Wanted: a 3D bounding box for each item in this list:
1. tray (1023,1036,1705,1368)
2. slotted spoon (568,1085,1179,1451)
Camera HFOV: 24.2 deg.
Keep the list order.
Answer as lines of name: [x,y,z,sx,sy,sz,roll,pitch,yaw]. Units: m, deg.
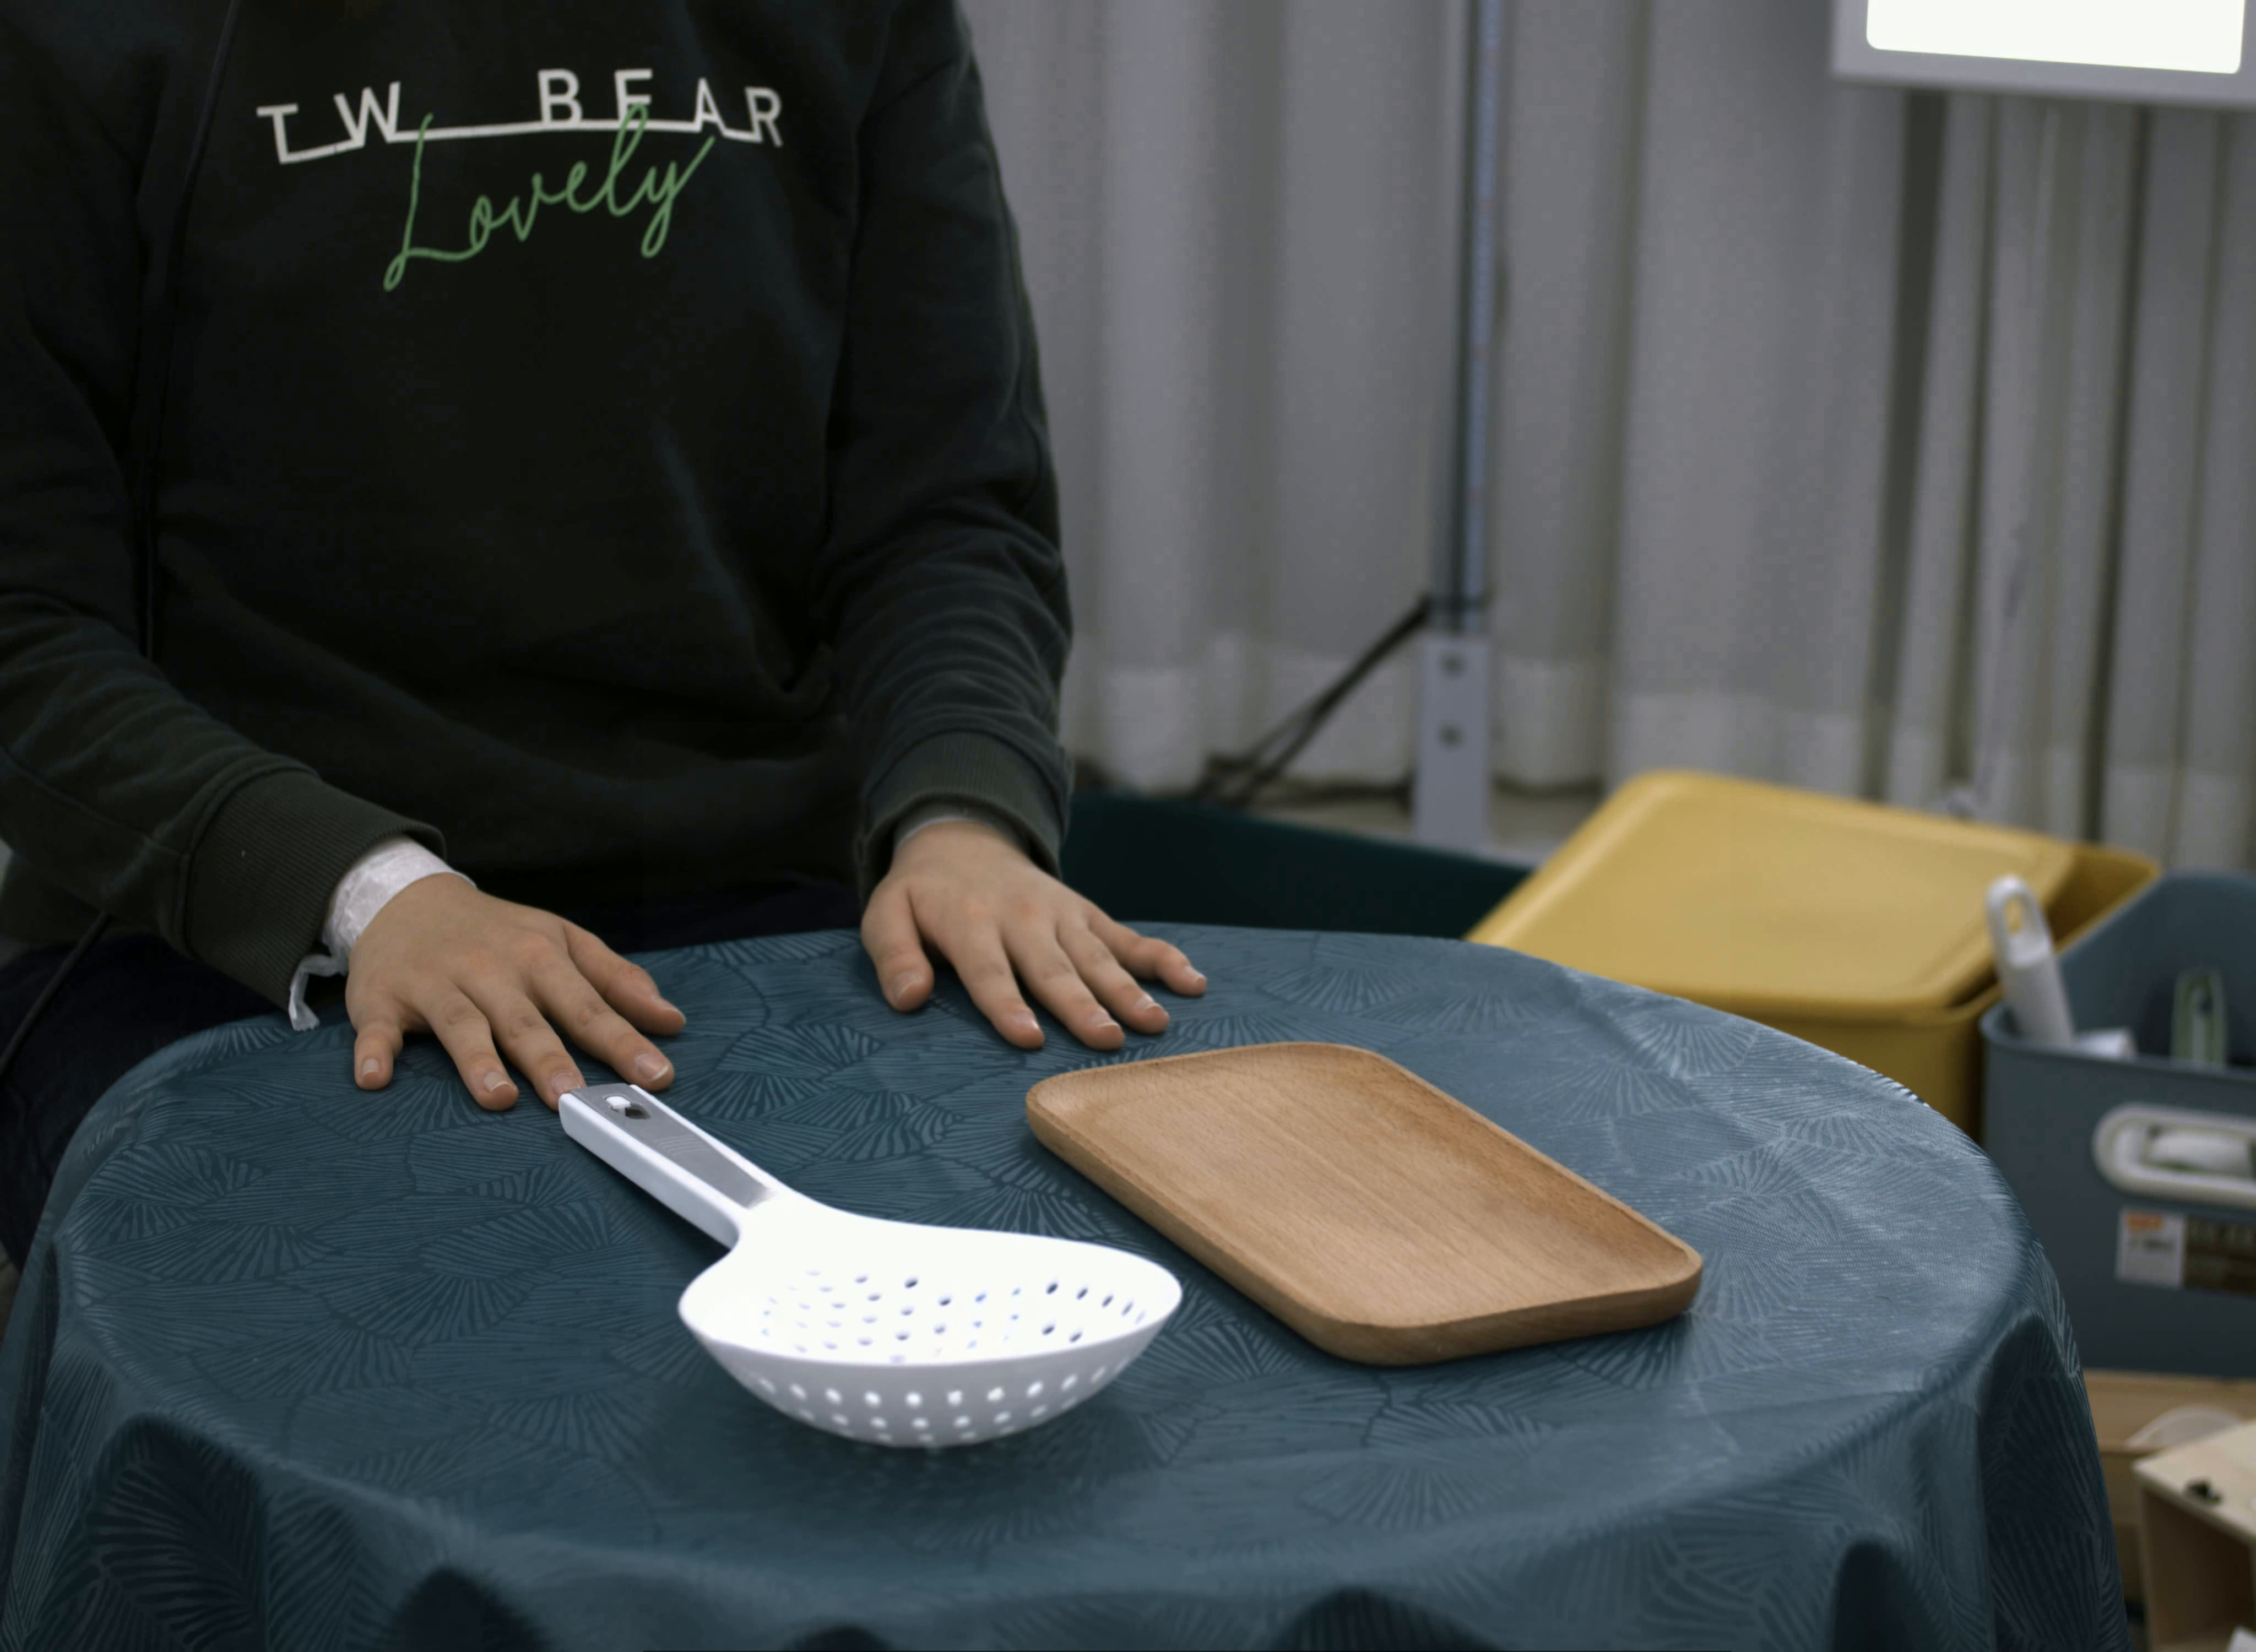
tray: [0.067,0.111,1.603,0.131,0.023,0.248,-5,16,-24]
slotted spoon: [-0.098,0.118,1.520,0.136,0.046,0.345,-4,16,-24]
